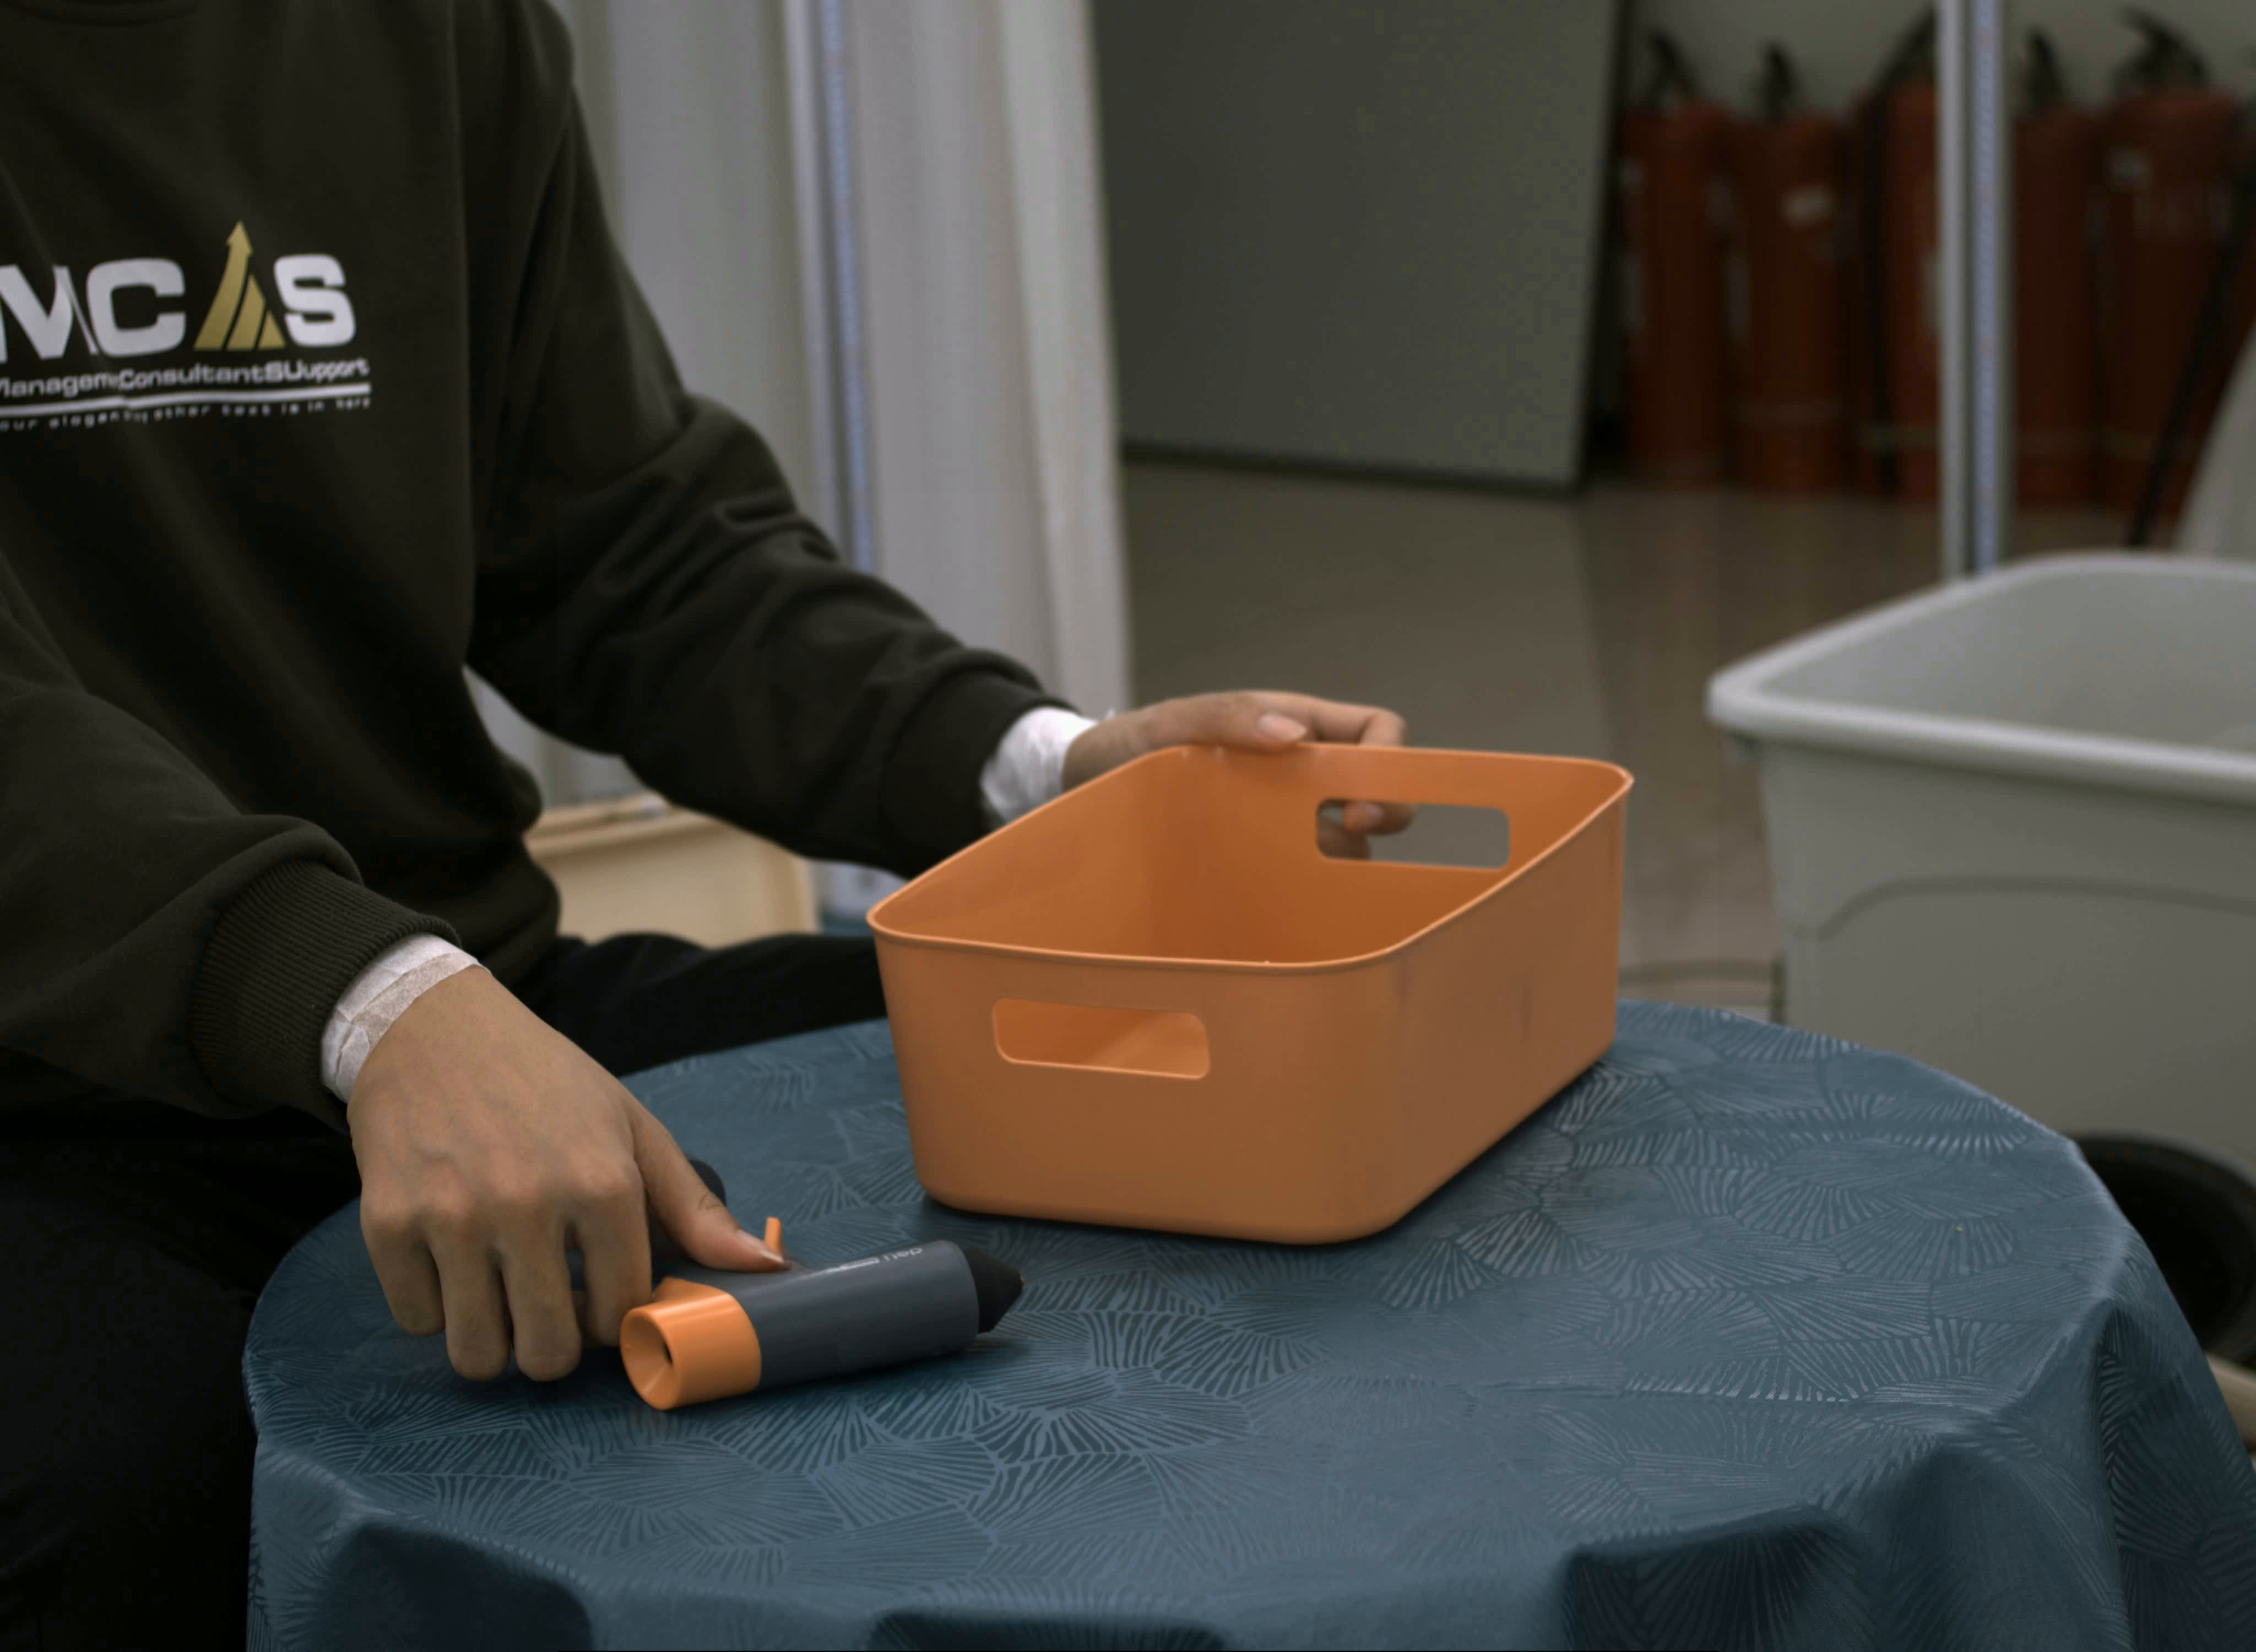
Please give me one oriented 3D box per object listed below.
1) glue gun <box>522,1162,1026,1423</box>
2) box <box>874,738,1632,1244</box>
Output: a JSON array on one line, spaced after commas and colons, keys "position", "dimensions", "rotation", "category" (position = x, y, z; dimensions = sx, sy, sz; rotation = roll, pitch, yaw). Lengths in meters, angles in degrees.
[{"position": [-0.113, 0.143, 1.659], "dimensions": [0.115, 0.041, 0.141], "rotation": [-16, 21, -36], "category": "glue gun"}, {"position": [0.048, 0.053, 1.824], "dimensions": [0.200, 0.103, 0.269], "rotation": [3, 16, 26], "category": "box"}]
